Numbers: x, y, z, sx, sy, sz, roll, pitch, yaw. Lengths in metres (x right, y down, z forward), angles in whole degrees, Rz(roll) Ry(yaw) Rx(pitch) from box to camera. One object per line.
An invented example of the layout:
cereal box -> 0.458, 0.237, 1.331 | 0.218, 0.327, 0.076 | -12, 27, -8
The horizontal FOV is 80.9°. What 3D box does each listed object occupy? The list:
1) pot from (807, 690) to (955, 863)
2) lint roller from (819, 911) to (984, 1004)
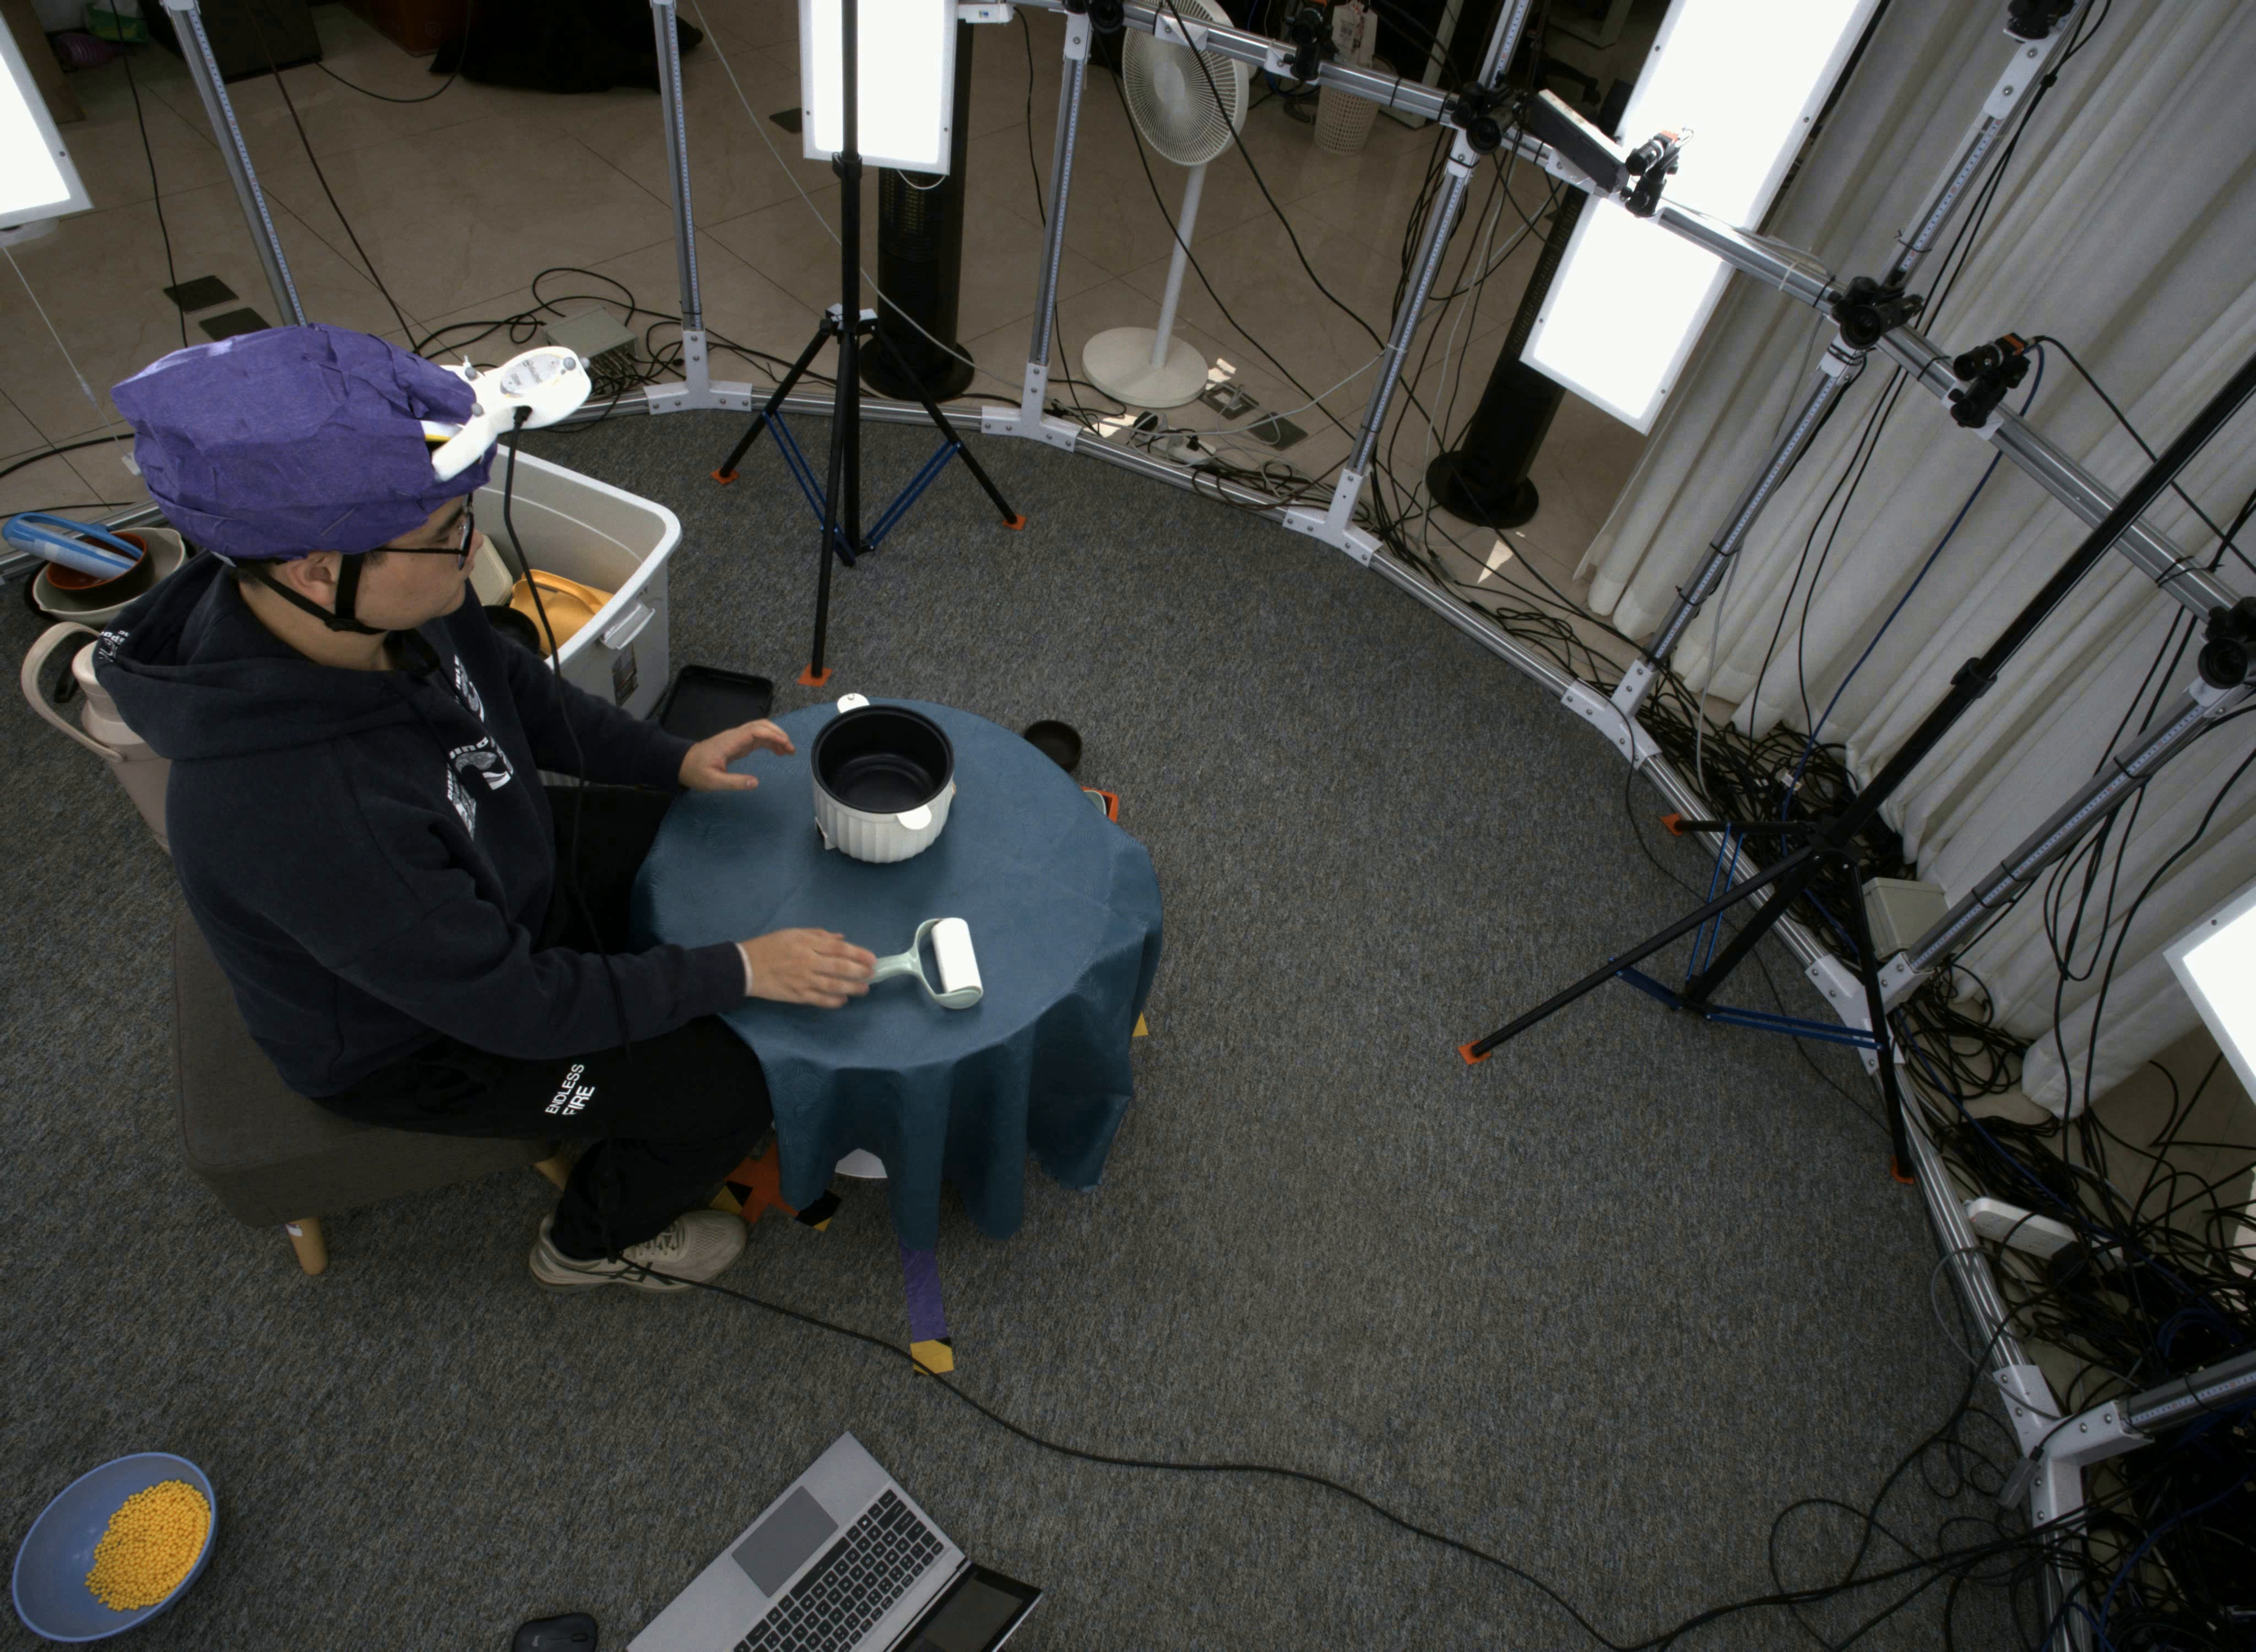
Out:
pot -> -0.317, -0.053, 1.697 | 0.191, 0.145, 0.234 | -22, 62, -23
lint roller -> -0.283, 0.172, 1.600 | 0.198, 0.049, 0.114 | -9, 59, -17
